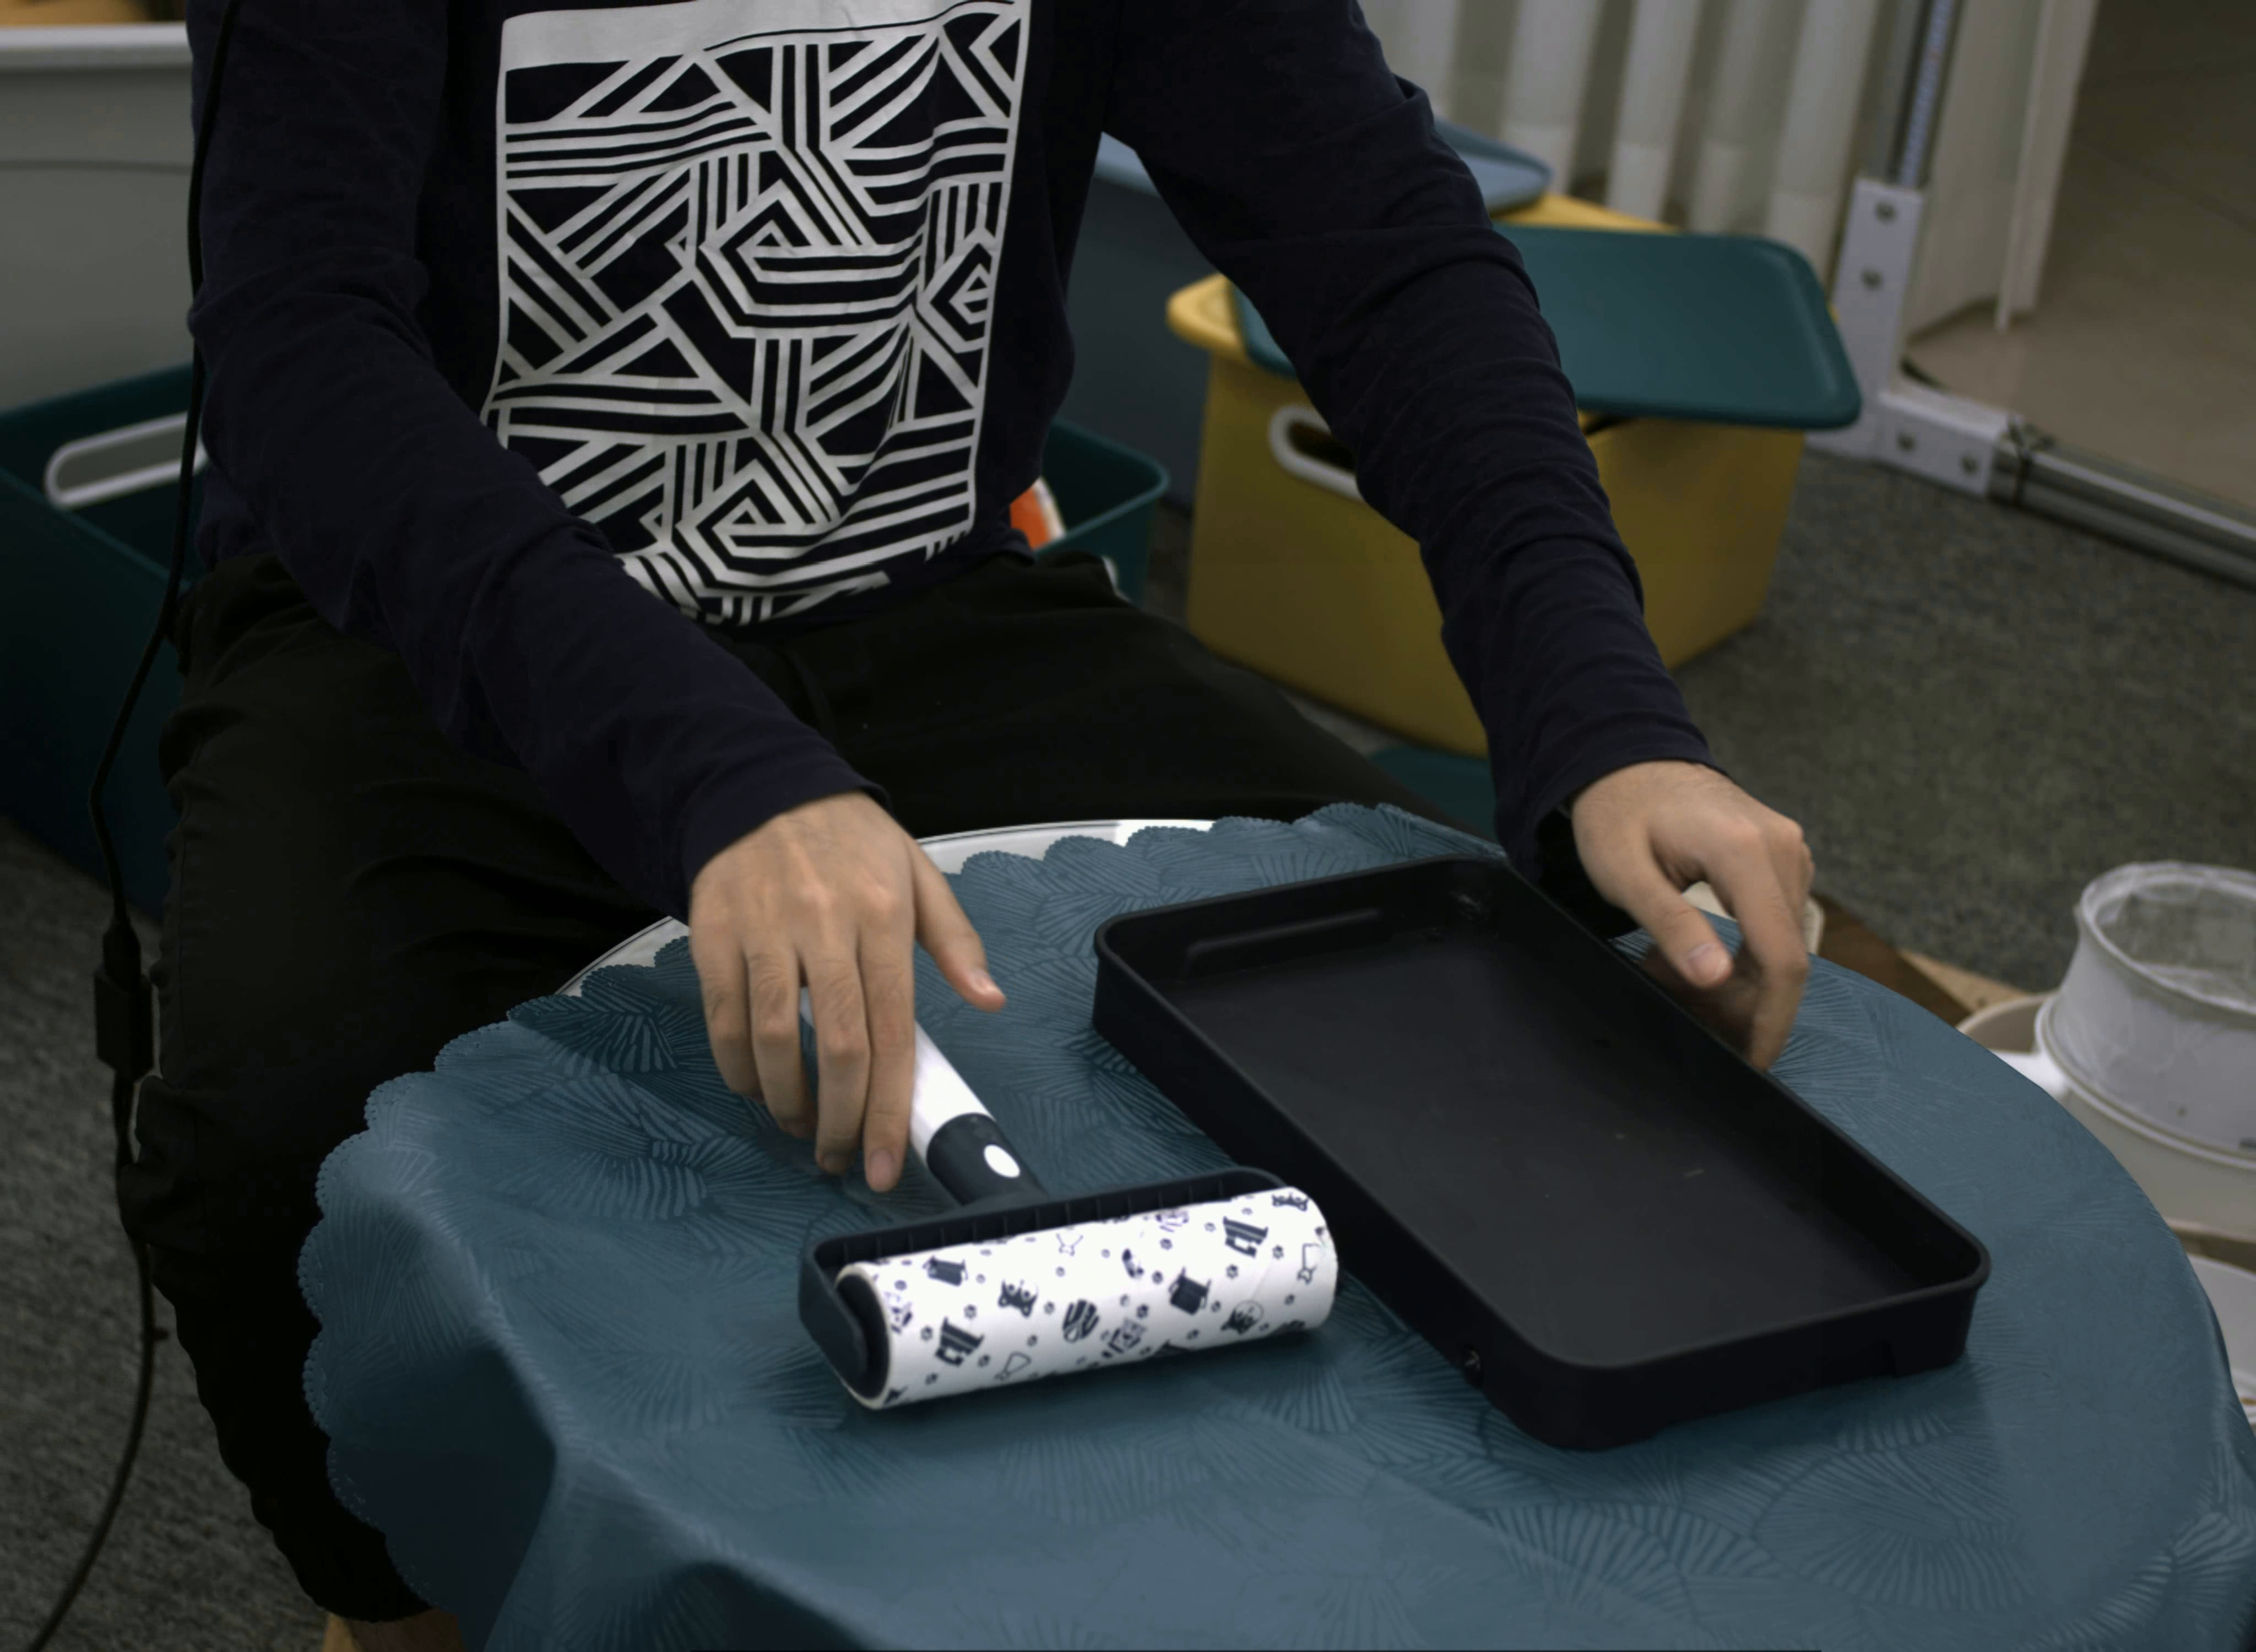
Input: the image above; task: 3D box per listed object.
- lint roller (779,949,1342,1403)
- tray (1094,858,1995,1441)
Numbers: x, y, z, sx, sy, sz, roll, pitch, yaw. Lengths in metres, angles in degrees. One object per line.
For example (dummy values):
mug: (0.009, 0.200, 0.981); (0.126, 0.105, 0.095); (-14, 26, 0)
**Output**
lint roller: (-0.061, 0.101, 1.775); (0.175, 0.050, 0.249); (-9, 32, -26)
tray: (0.136, 0.104, 1.834); (0.183, 0.037, 0.321); (-9, 30, -29)
